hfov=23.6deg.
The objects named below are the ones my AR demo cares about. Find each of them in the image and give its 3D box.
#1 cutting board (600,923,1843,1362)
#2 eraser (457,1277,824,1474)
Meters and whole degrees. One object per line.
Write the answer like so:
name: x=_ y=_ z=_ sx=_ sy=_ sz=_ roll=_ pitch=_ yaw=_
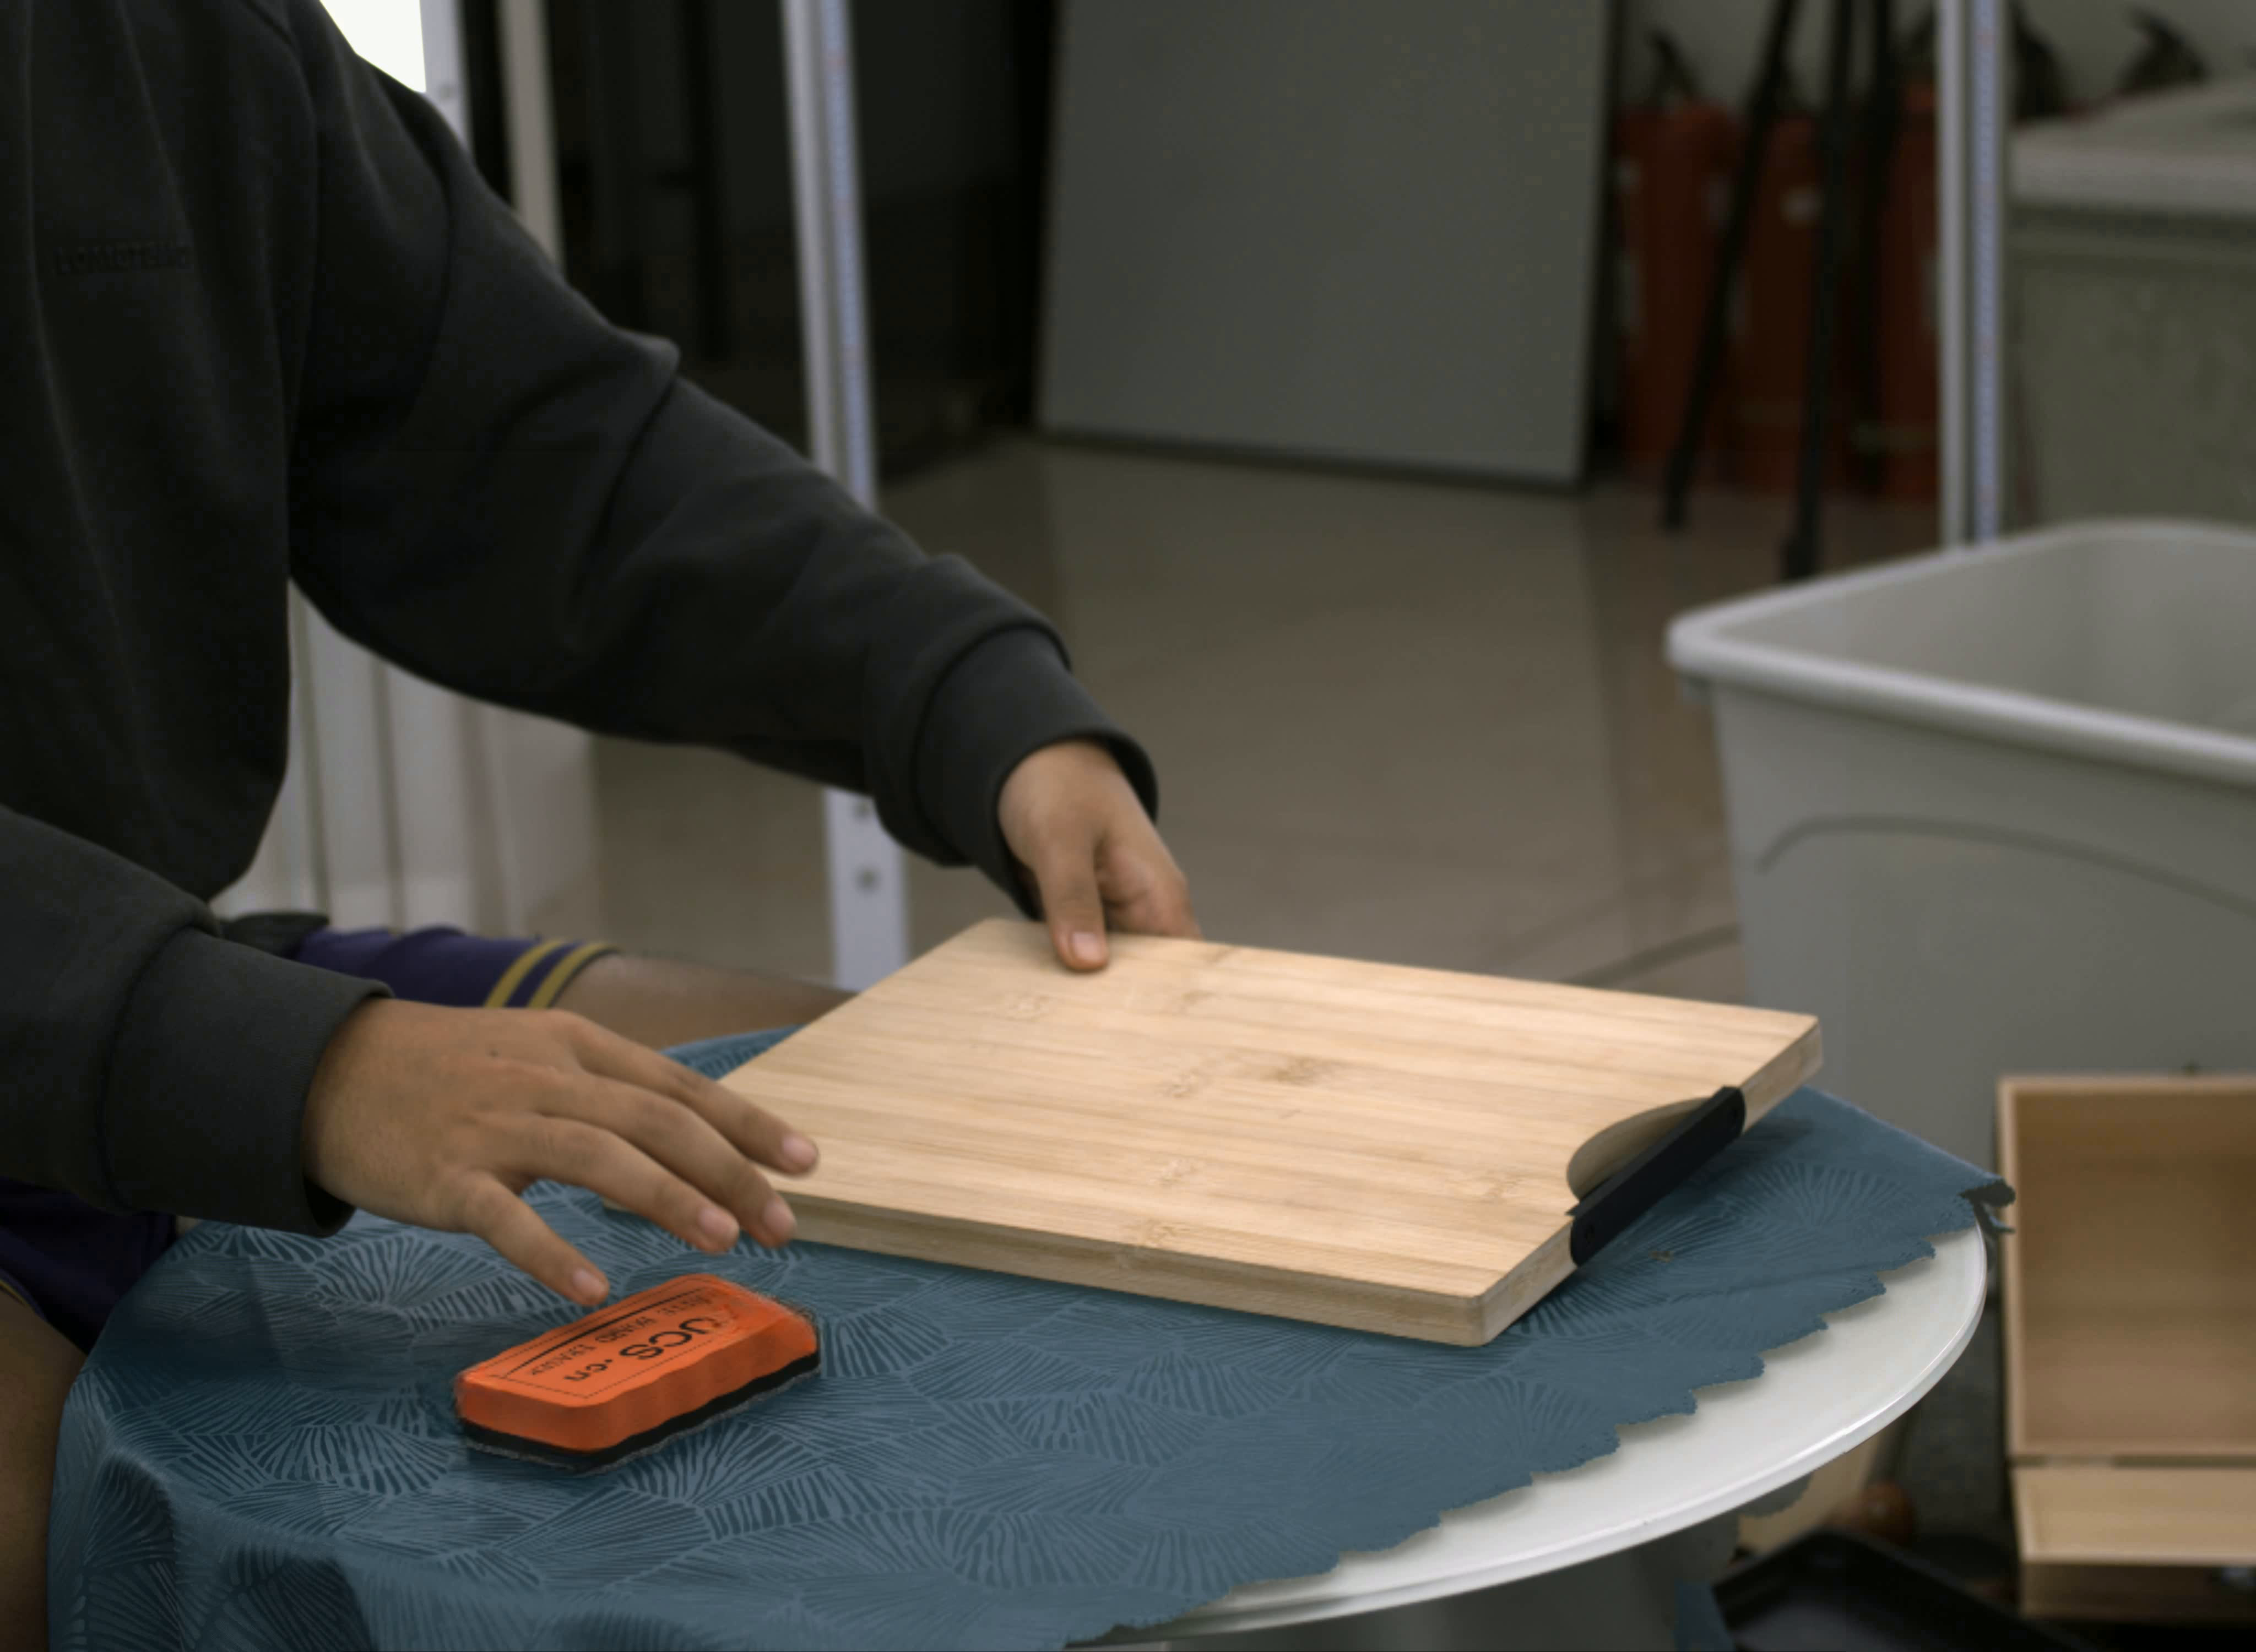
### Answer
cutting board: x=0.032 y=0.097 z=1.778 sx=0.350 sy=0.024 sz=0.247 roll=5 pitch=22 yaw=33
eraser: x=-0.143 y=0.161 z=1.594 sx=0.059 sy=0.023 sz=0.106 roll=7 pitch=17 yaw=39
